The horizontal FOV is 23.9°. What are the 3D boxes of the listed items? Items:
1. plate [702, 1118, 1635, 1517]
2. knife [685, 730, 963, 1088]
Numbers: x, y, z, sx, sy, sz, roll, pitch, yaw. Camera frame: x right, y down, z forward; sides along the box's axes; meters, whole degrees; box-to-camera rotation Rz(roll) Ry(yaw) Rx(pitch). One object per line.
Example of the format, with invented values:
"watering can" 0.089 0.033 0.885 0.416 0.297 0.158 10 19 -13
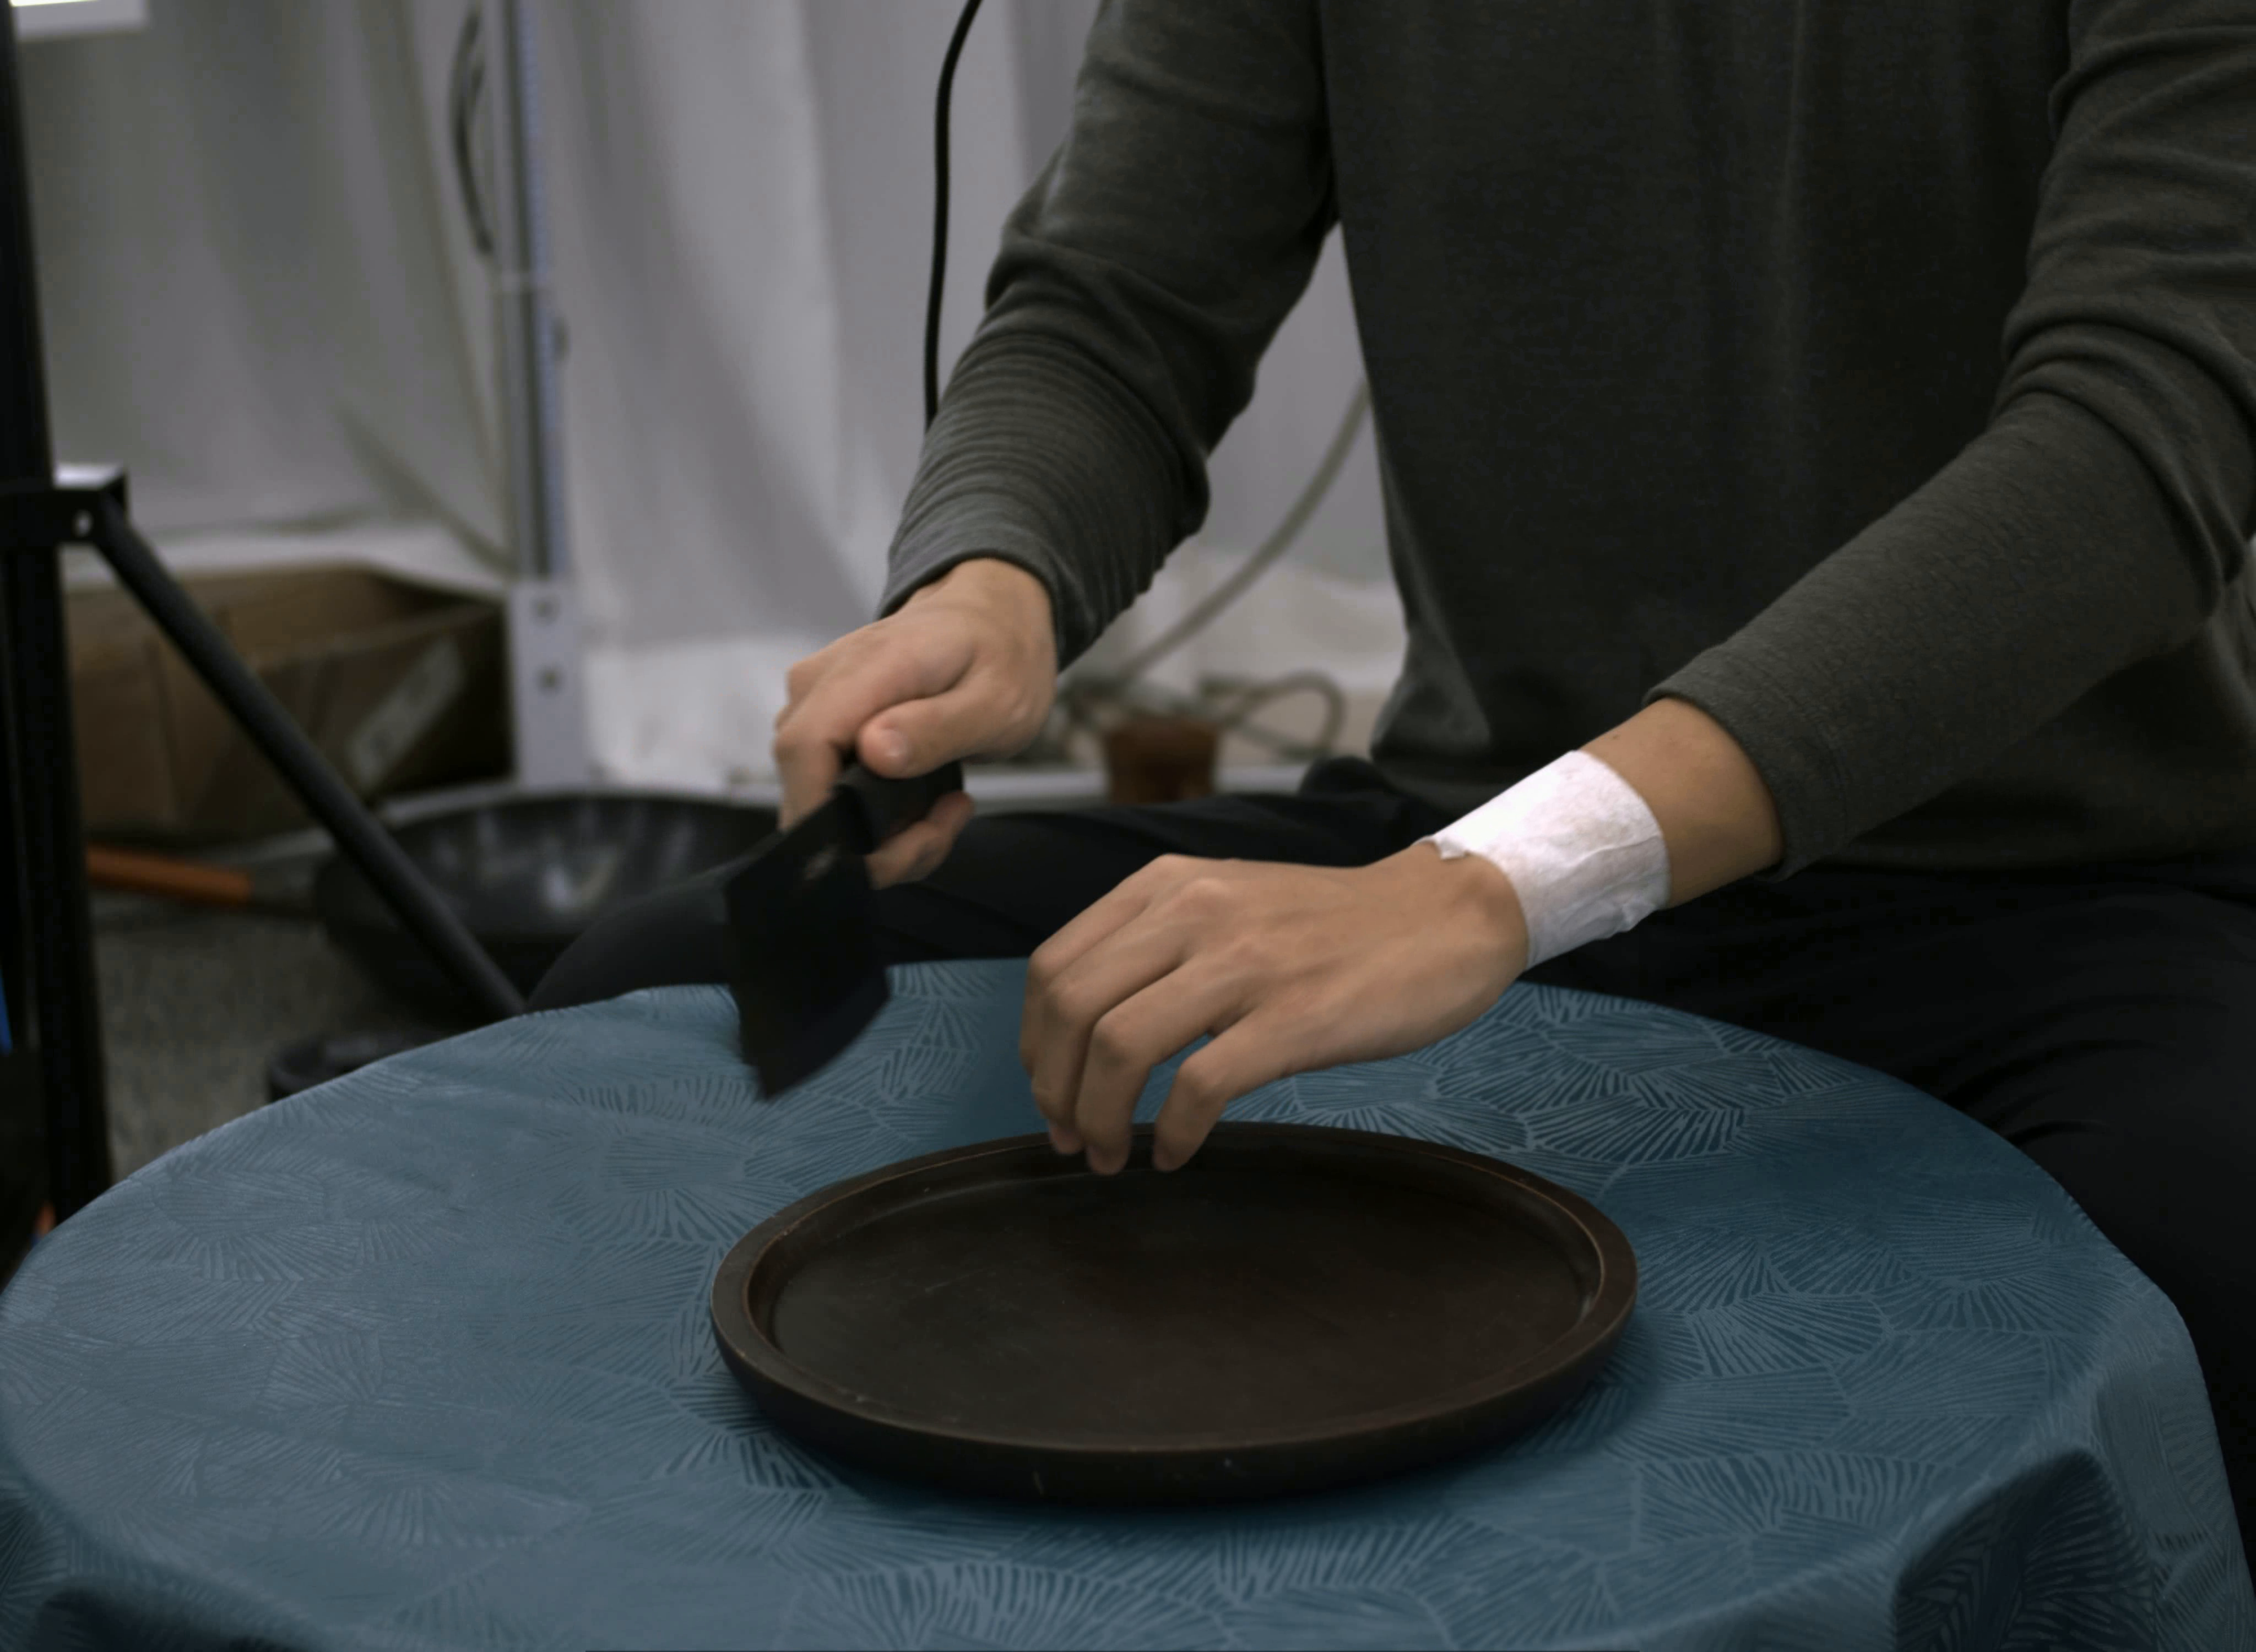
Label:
"plate" 0.012 0.130 1.440 0.253 0.029 0.256 -4 16 0
"knife" -0.084 0.017 1.519 0.021 0.081 0.301 -9 10 11
